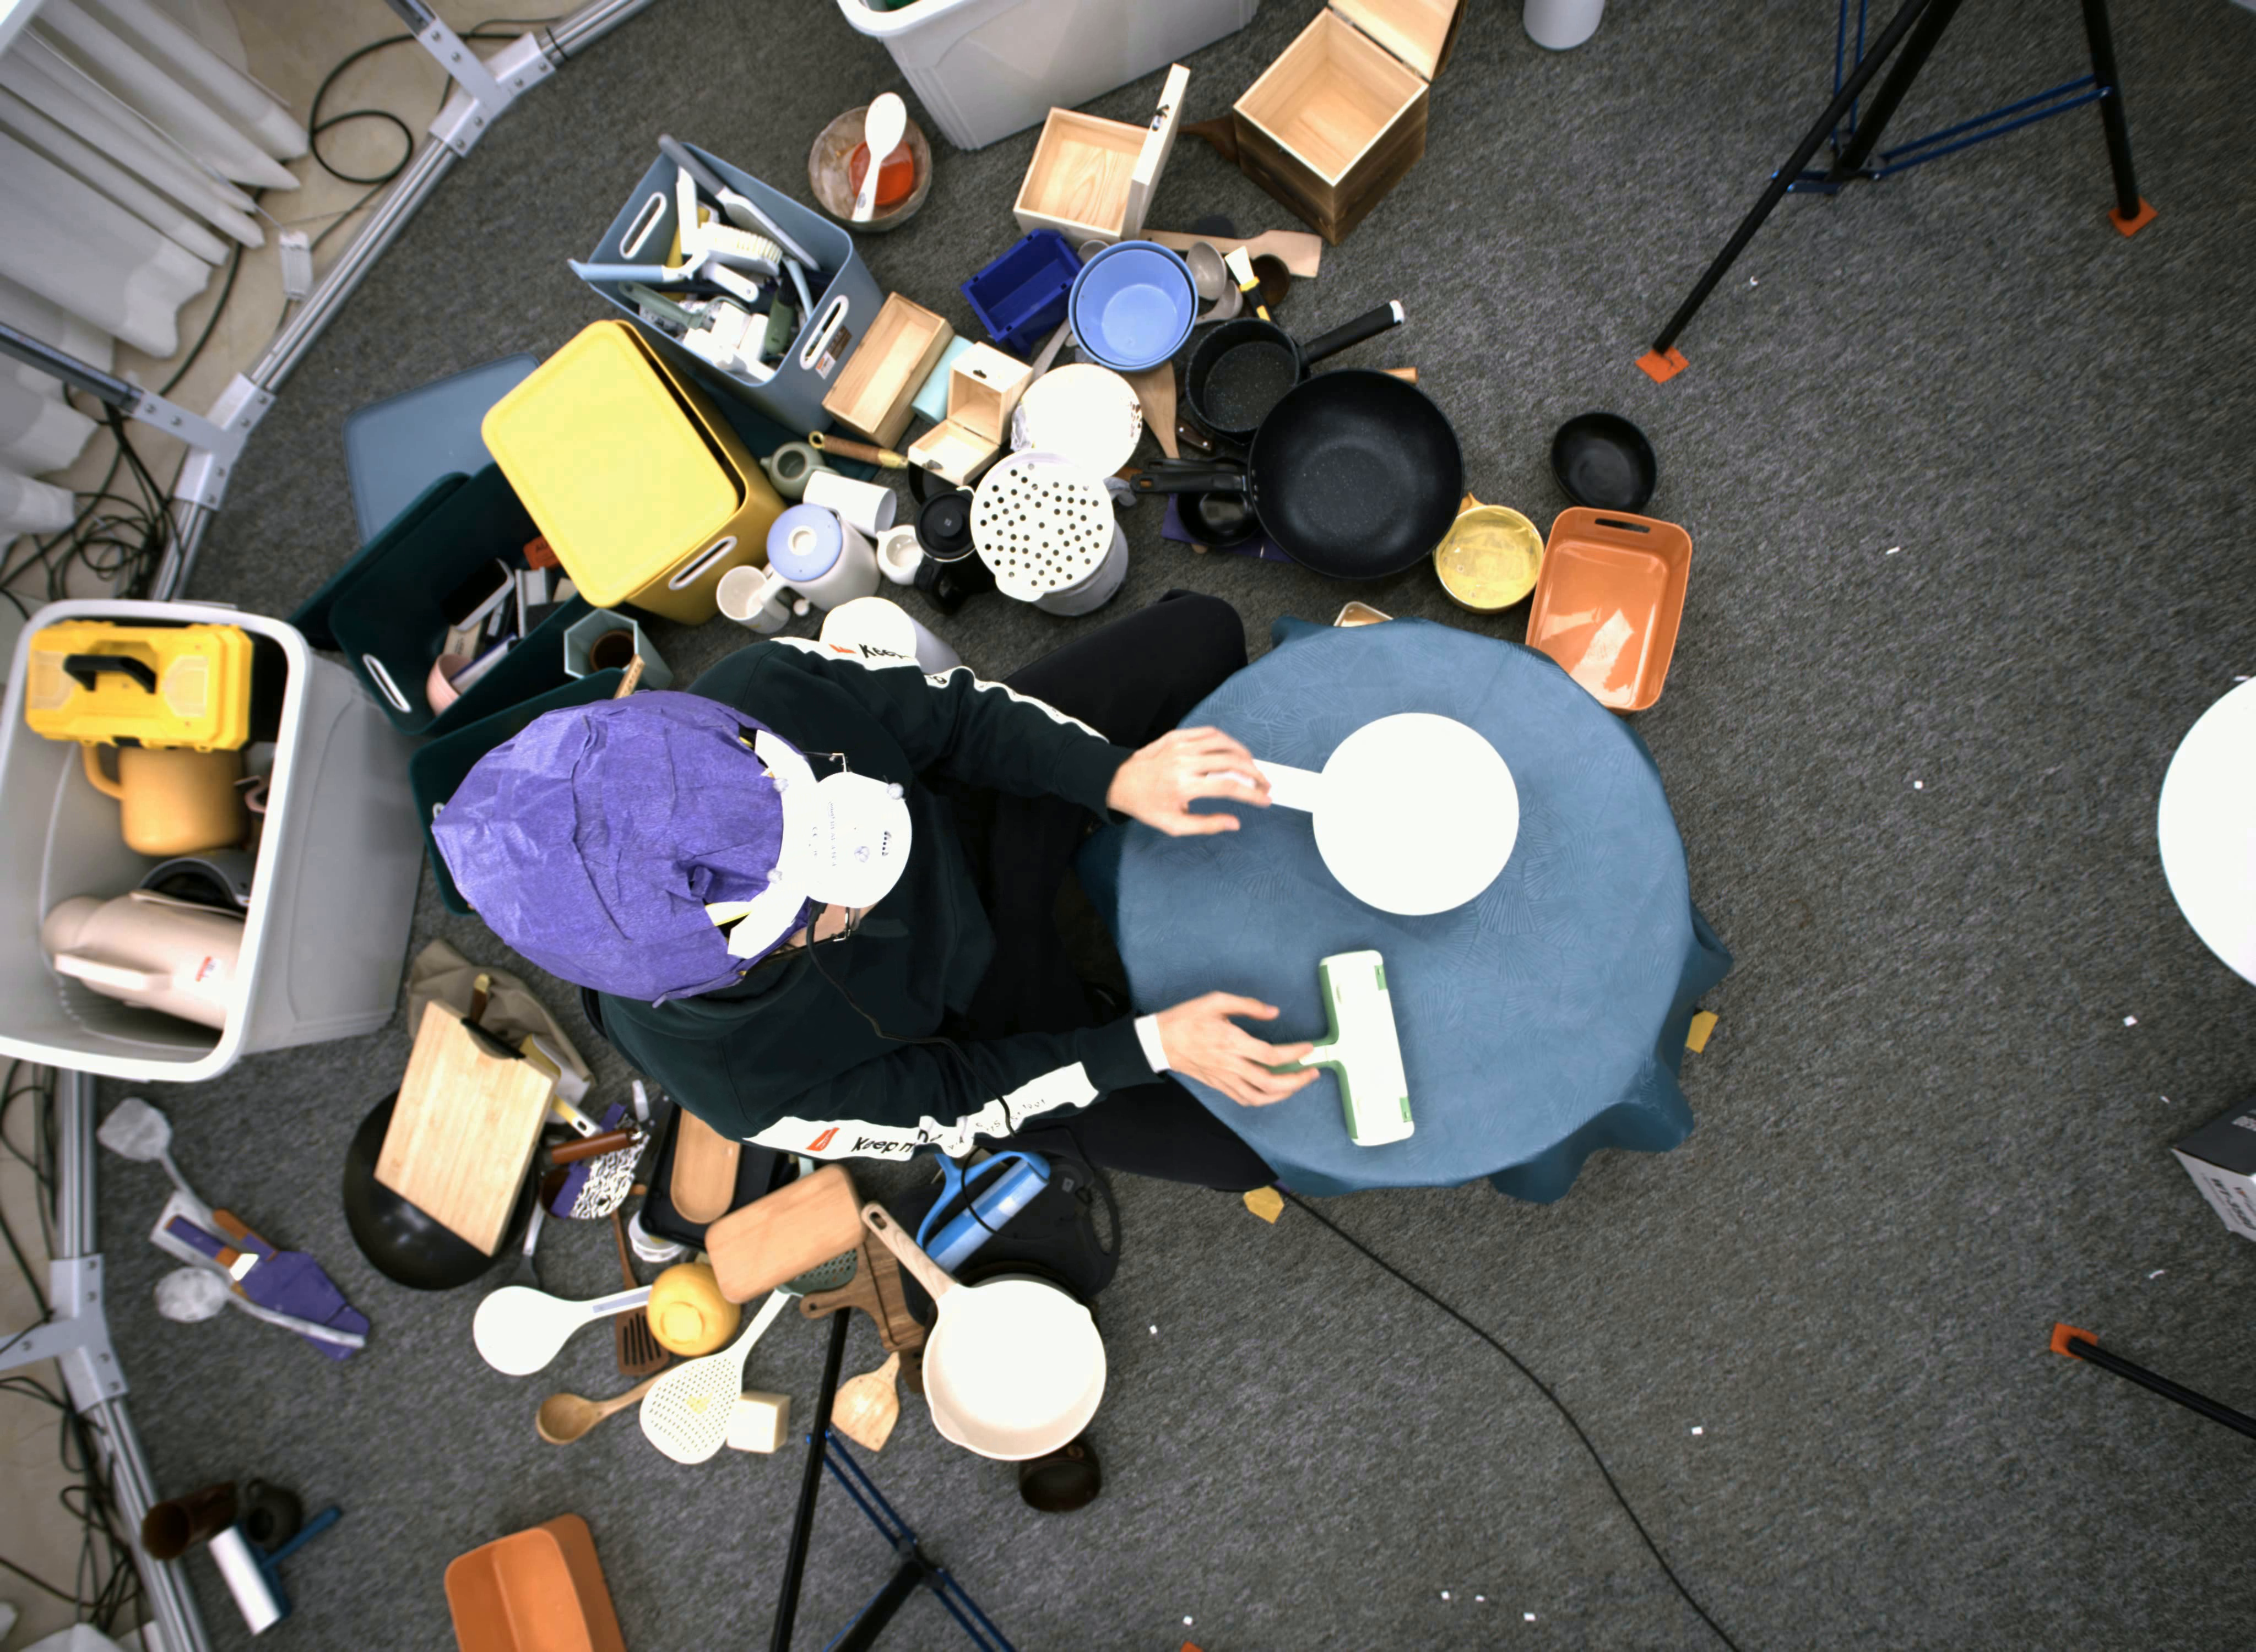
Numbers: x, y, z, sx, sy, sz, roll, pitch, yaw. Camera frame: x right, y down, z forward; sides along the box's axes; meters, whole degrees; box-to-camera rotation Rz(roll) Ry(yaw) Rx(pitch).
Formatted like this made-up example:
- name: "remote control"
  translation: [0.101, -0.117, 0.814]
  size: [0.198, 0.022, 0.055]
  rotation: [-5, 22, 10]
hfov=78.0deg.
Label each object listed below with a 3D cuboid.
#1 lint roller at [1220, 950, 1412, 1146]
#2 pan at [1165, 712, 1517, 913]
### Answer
- name: "lint roller"
  translation: [0.185, 0.236, 1.424]
  size: [0.184, 0.082, 0.197]
  rotation: [-10, 85, 4]
- name: "pan"
  translation: [0.217, -0.029, 1.420]
  size: [0.355, 0.102, 0.201]
  rotation: [14, 90, 11]
